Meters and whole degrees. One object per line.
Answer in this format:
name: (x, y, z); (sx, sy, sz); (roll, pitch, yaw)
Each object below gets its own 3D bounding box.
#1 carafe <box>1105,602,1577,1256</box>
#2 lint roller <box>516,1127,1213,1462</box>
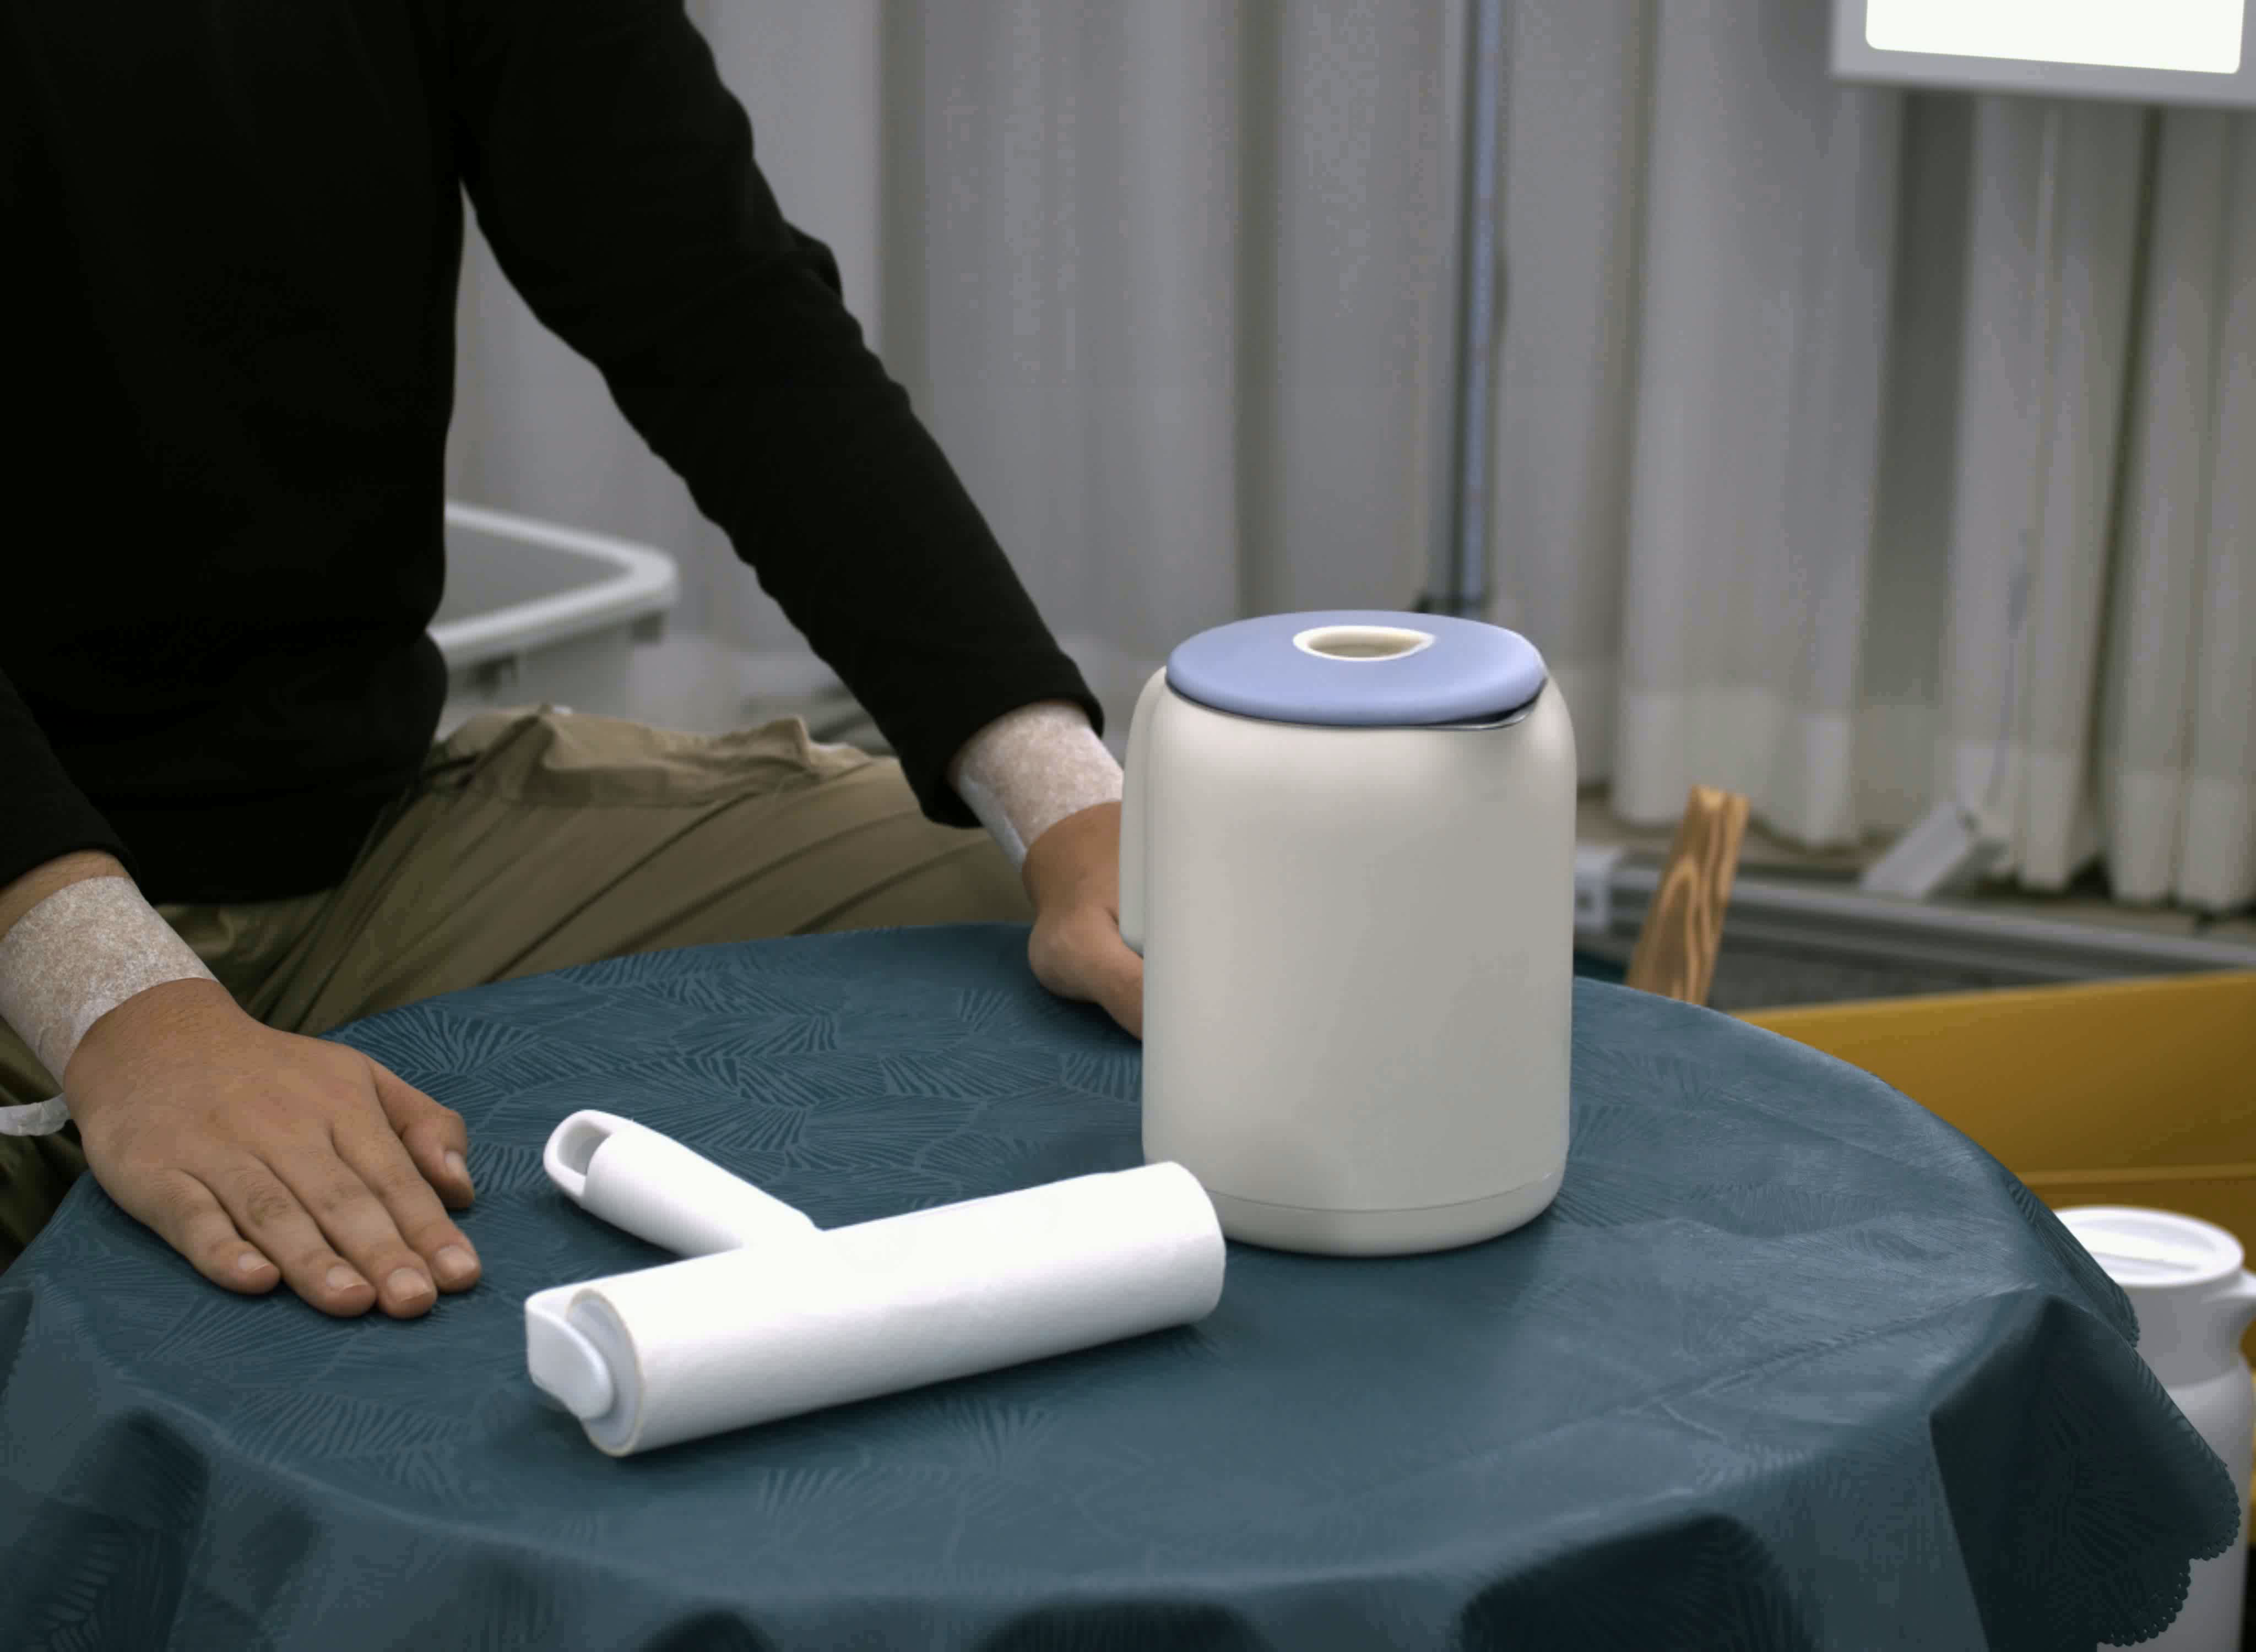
carafe: (0.055, 0.025, 1.614); (0.133, 0.184, 0.188); (-11, 17, -36)
lint roller: (-0.114, 0.115, 1.528); (0.203, 0.049, 0.222); (-12, 18, -33)
